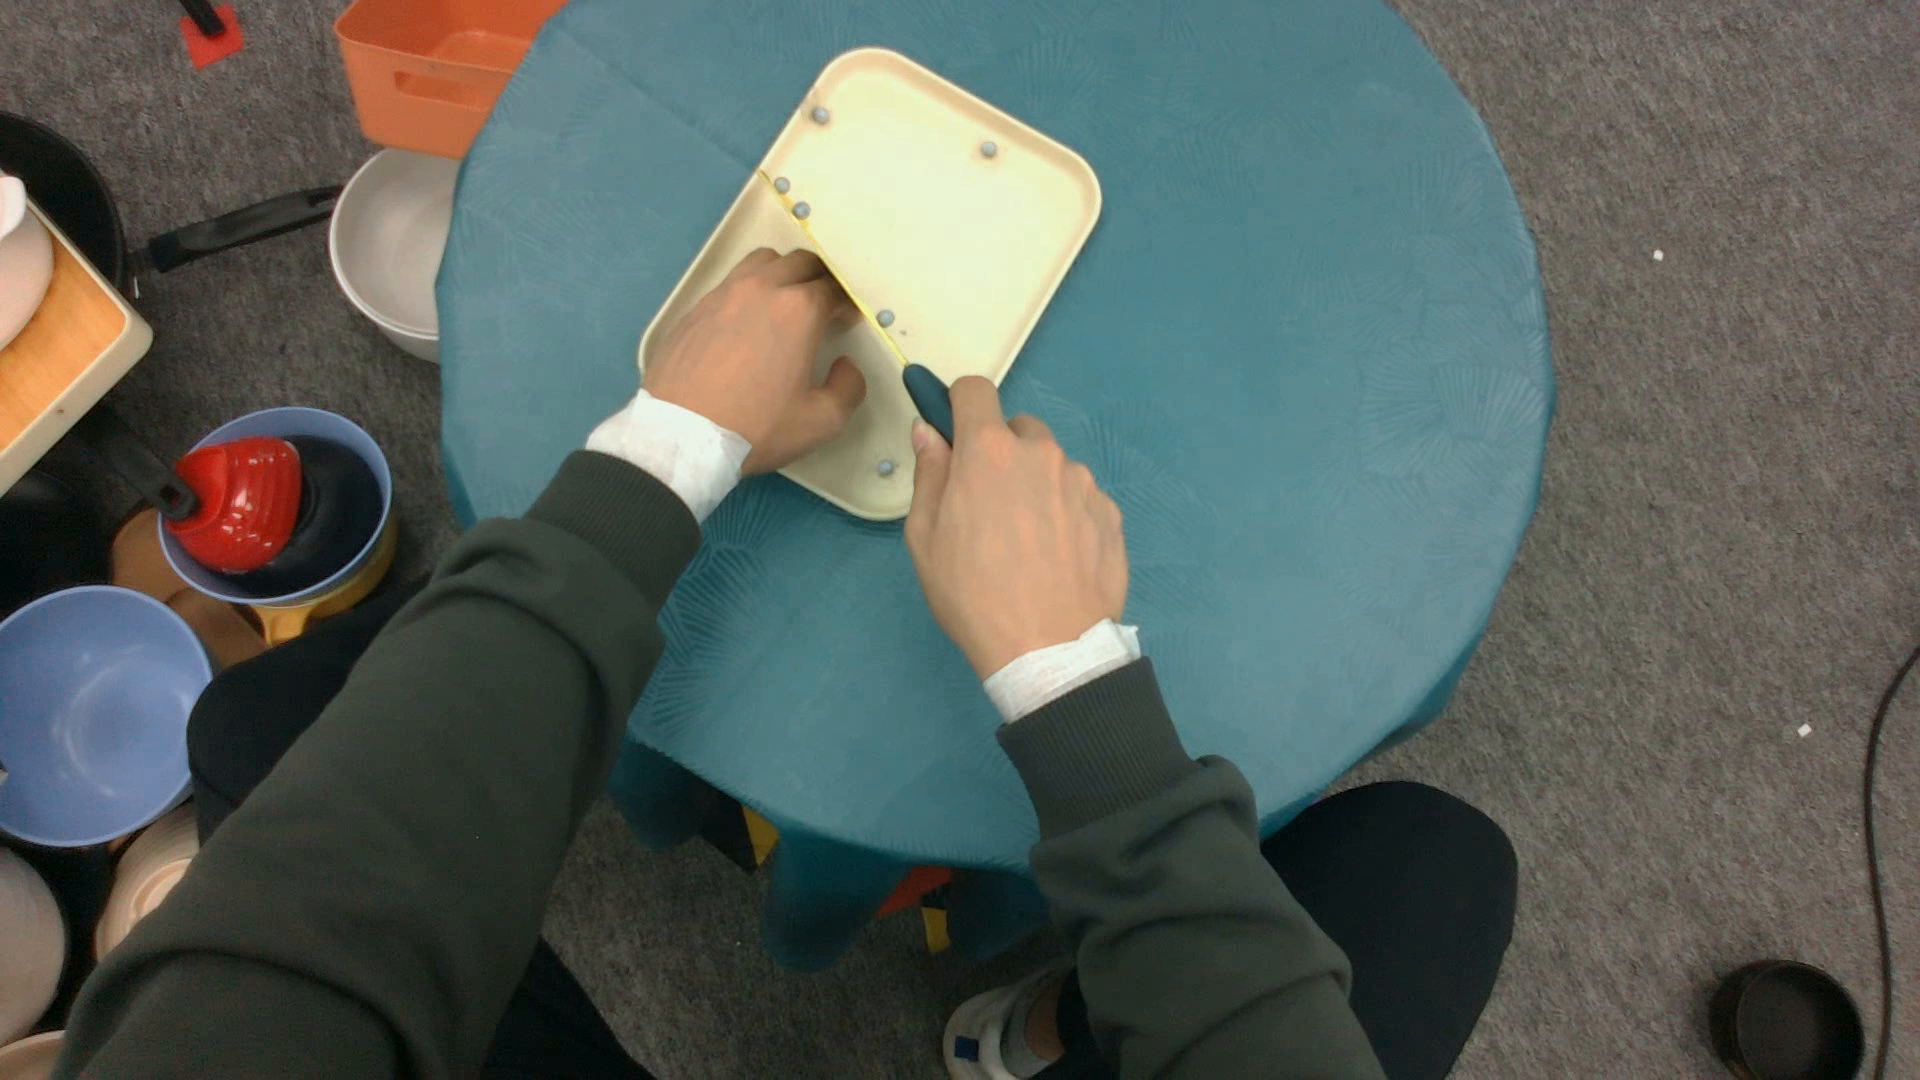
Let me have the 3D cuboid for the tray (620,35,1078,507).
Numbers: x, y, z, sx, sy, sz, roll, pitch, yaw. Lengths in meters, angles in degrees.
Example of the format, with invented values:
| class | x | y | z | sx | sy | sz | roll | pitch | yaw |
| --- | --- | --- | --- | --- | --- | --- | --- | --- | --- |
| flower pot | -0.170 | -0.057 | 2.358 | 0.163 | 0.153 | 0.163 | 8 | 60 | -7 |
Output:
| class | x | y | z | sx | sy | sz | roll | pitch | yaw |
| --- | --- | --- | --- | --- | --- | --- | --- | --- | --- |
| tray | -0.054 | -0.145 | 0.728 | 0.171 | 0.017 | 0.240 | 29 | 74 | 1 |

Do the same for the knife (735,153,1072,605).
| class | x | y | z | sx | sy | sz | roll | pitch | yaw |
| --- | --- | --- | --- | --- | --- | --- | --- | --- | --- |
| knife | -0.033 | -0.085 | 0.658 | 0.027 | 0.081 | 0.290 | -38 | 71 | 7 |
